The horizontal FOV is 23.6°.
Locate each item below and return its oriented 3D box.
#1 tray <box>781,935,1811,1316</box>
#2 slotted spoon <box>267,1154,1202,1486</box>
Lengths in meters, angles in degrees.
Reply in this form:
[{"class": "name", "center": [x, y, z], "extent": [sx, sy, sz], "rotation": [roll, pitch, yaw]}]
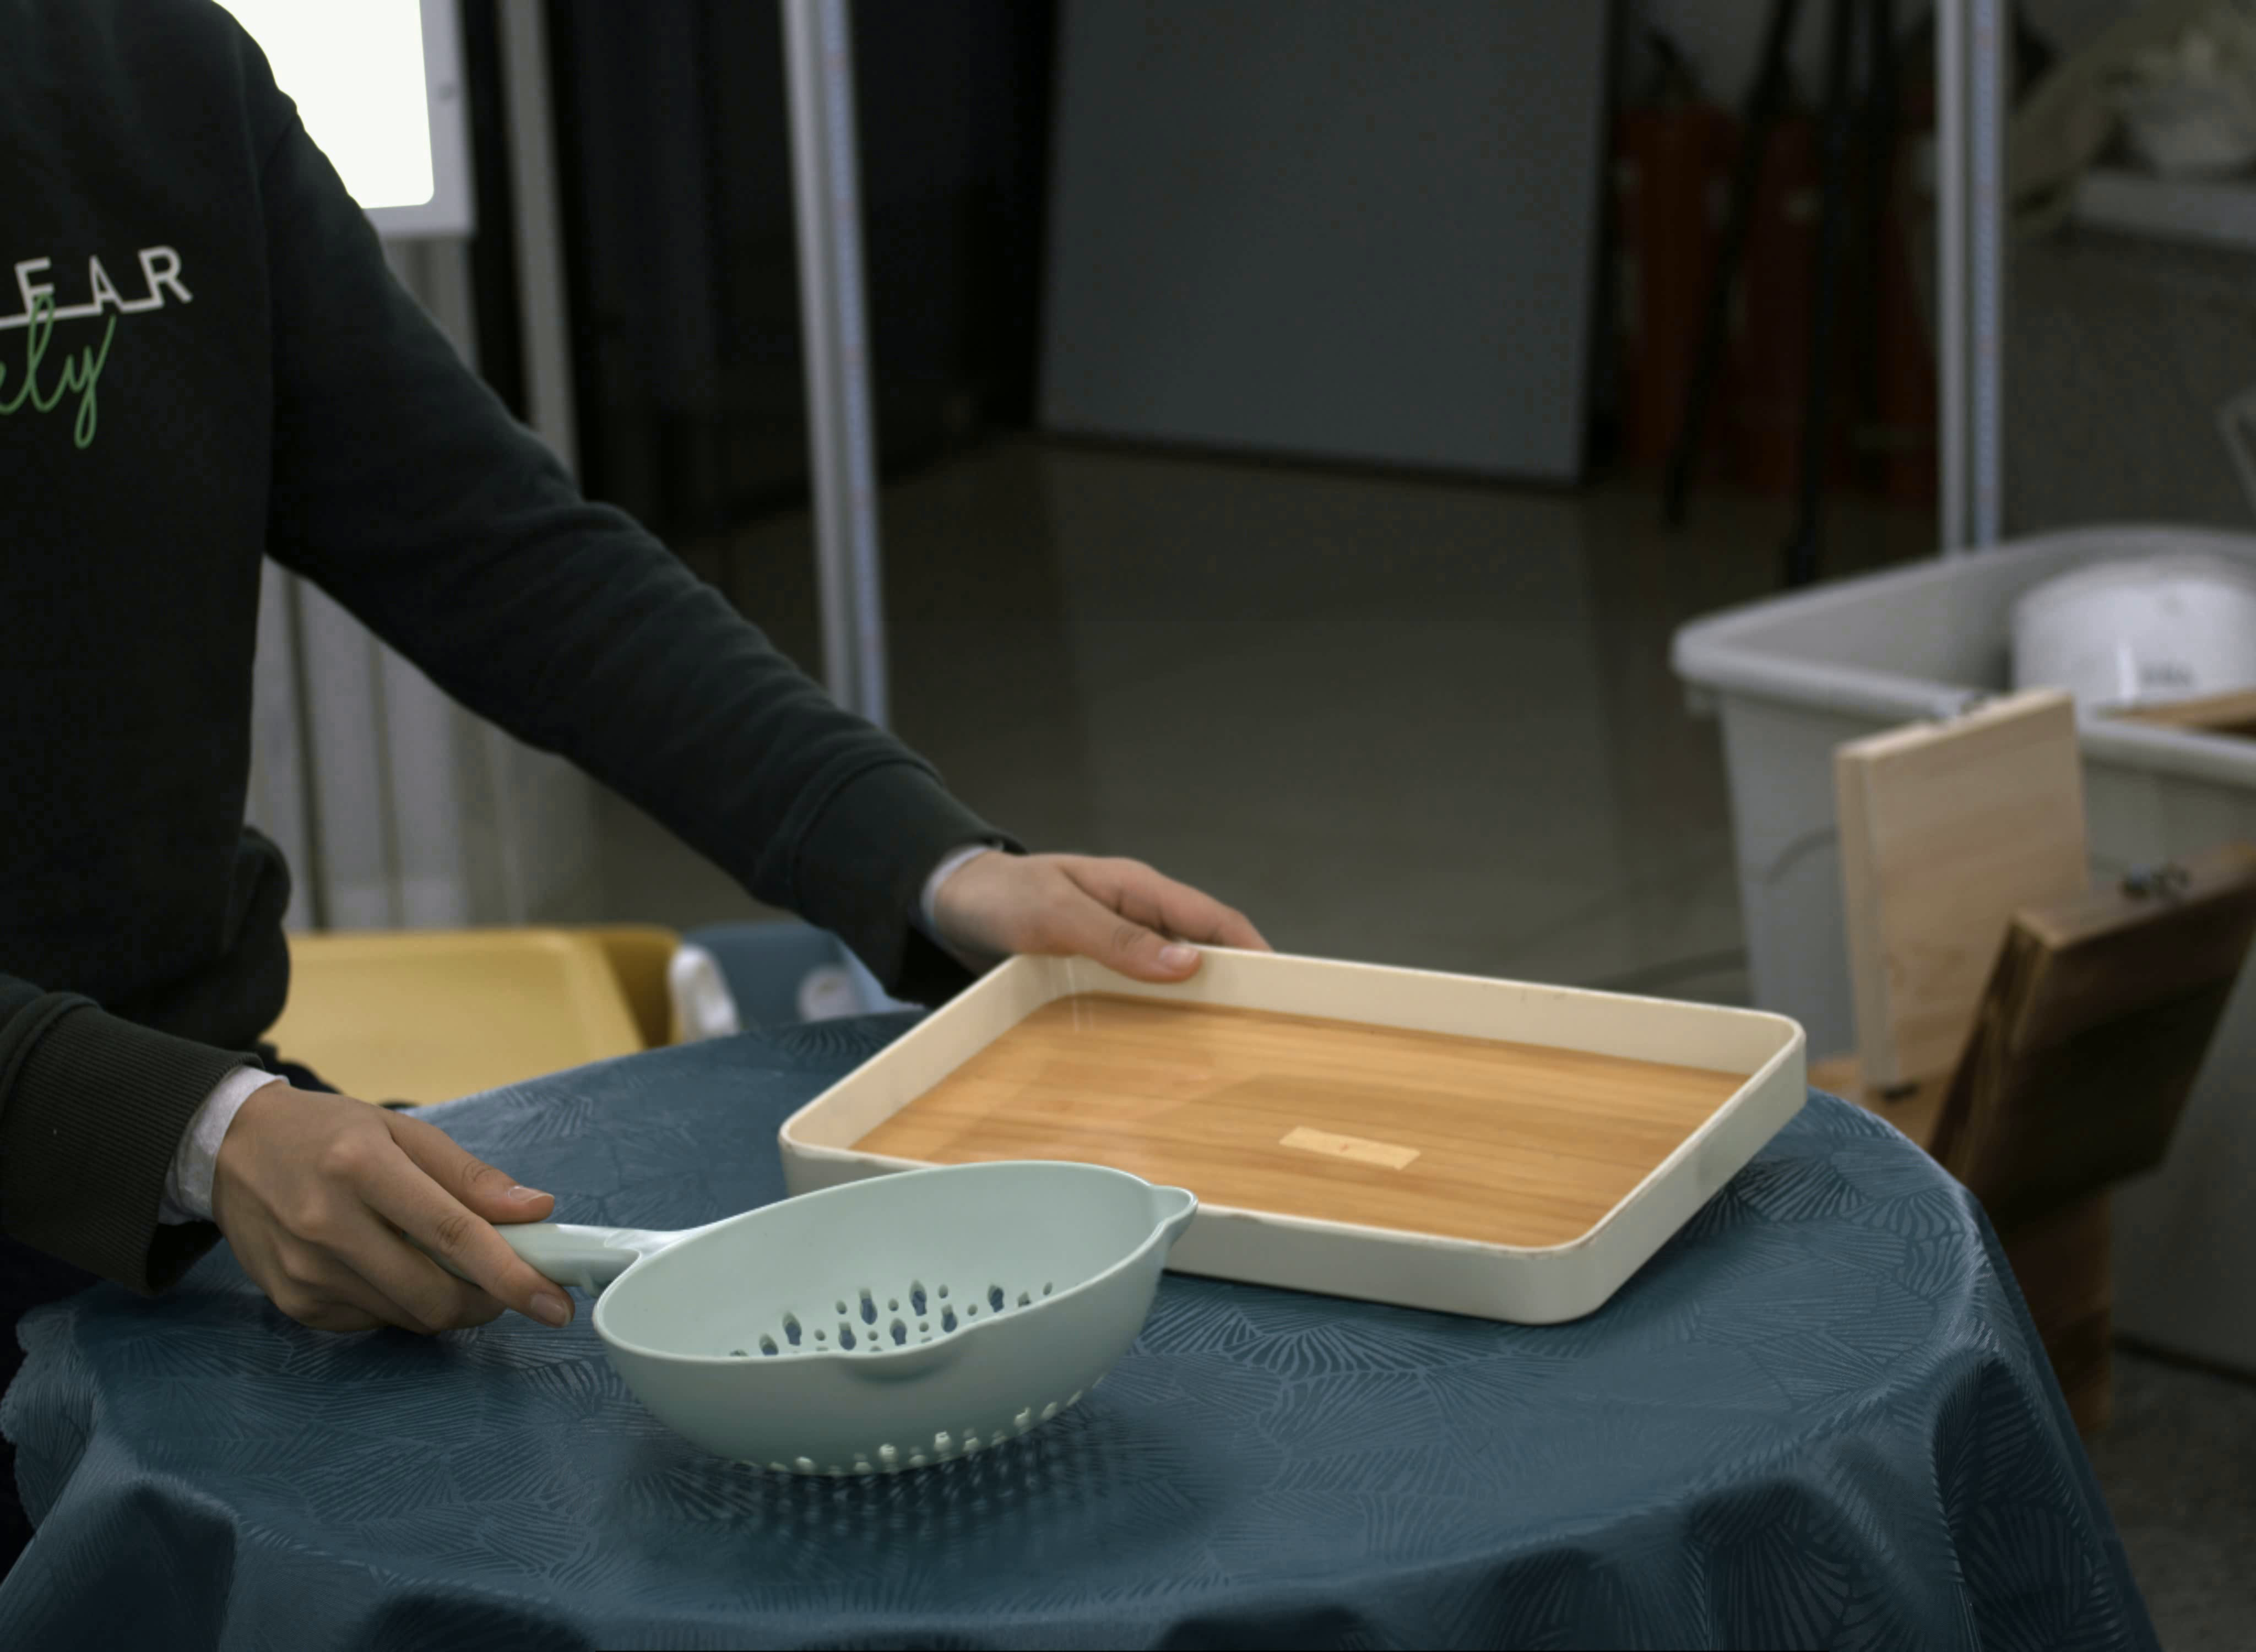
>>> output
[{"class": "tray", "center": [0.055, 0.094, 1.755], "extent": [0.302, 0.027, 0.189], "rotation": [6, 23, 32]}, {"class": "slotted spoon", "center": [-0.139, 0.134, 1.610], "extent": [0.362, 0.076, 0.166], "rotation": [11, 23, 40]}]
